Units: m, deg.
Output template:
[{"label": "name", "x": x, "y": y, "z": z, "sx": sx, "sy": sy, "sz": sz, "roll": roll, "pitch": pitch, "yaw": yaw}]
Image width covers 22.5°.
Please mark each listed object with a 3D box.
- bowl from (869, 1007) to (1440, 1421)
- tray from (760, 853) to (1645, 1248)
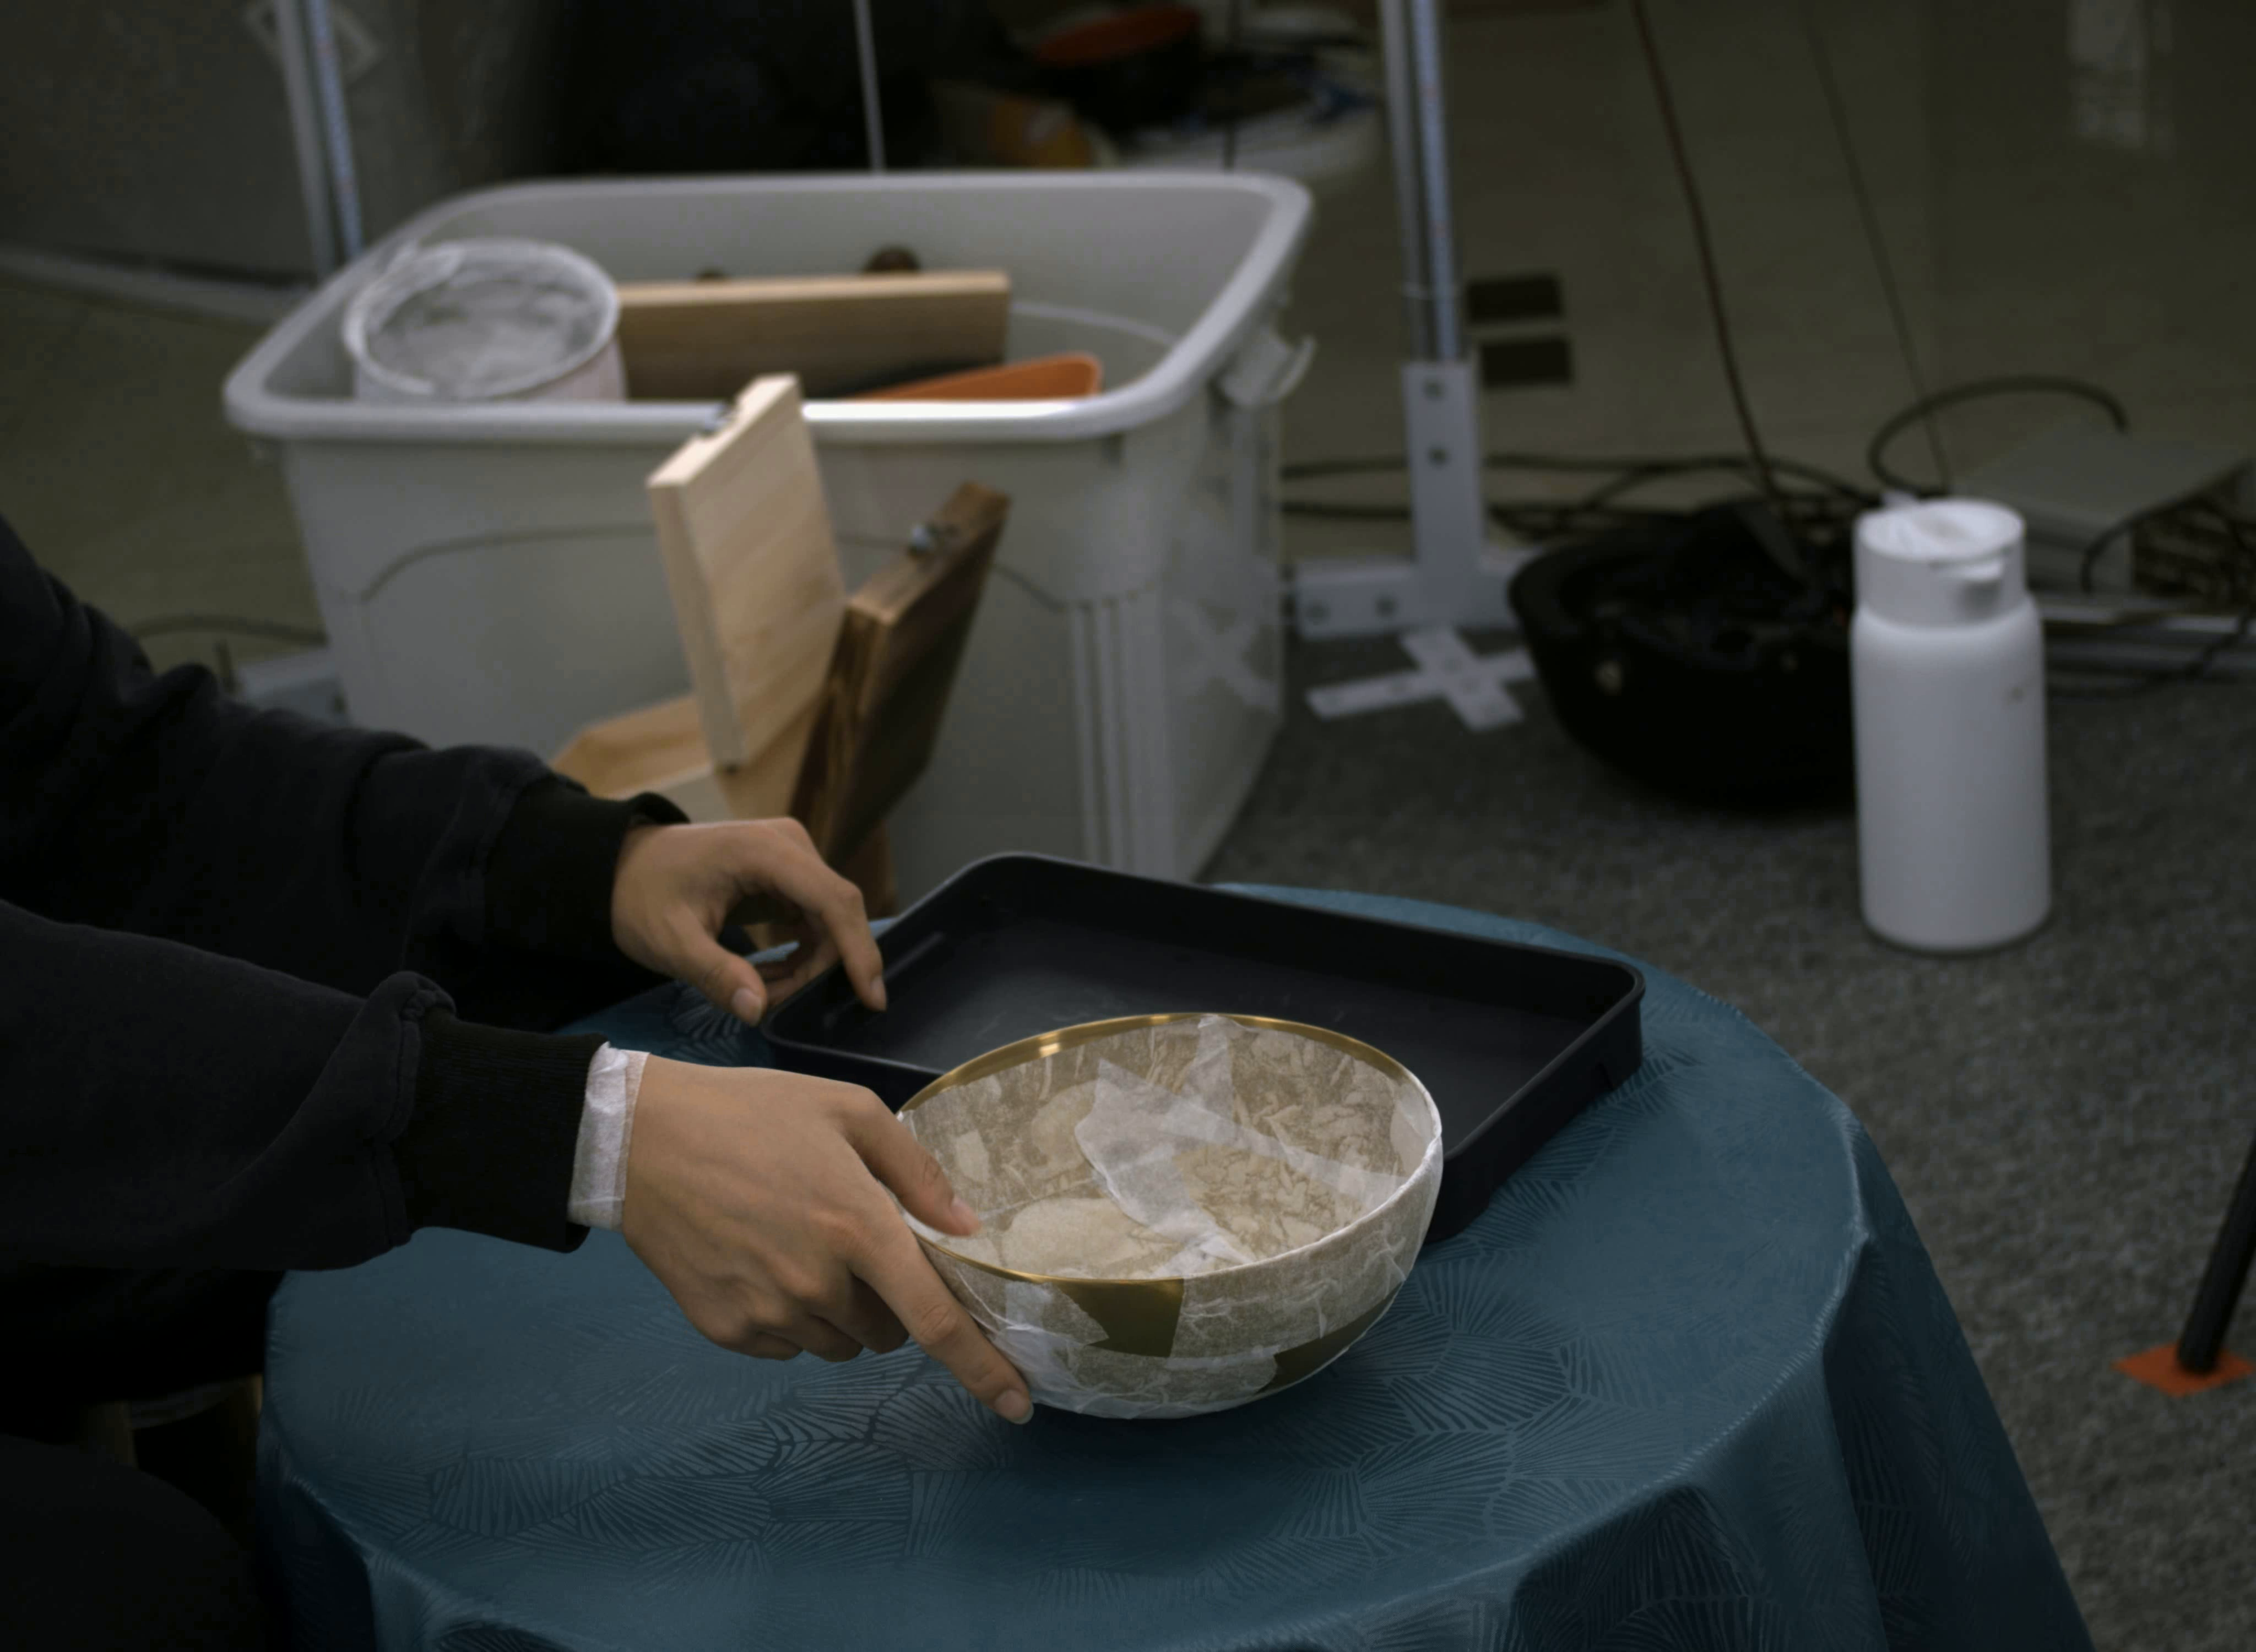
[{"label": "bowl", "x": 0.011, "y": 0.149, "z": 2.017, "sx": 0.214, "sy": 0.096, "sz": 0.211, "roll": -5, "pitch": 26, "yaw": 2}, {"label": "tray", "x": 0.028, "y": 0.084, "z": 2.221, "sx": 0.316, "sy": 0.037, "sz": 0.182, "roll": 11, "pitch": 30, "yaw": 33}]
